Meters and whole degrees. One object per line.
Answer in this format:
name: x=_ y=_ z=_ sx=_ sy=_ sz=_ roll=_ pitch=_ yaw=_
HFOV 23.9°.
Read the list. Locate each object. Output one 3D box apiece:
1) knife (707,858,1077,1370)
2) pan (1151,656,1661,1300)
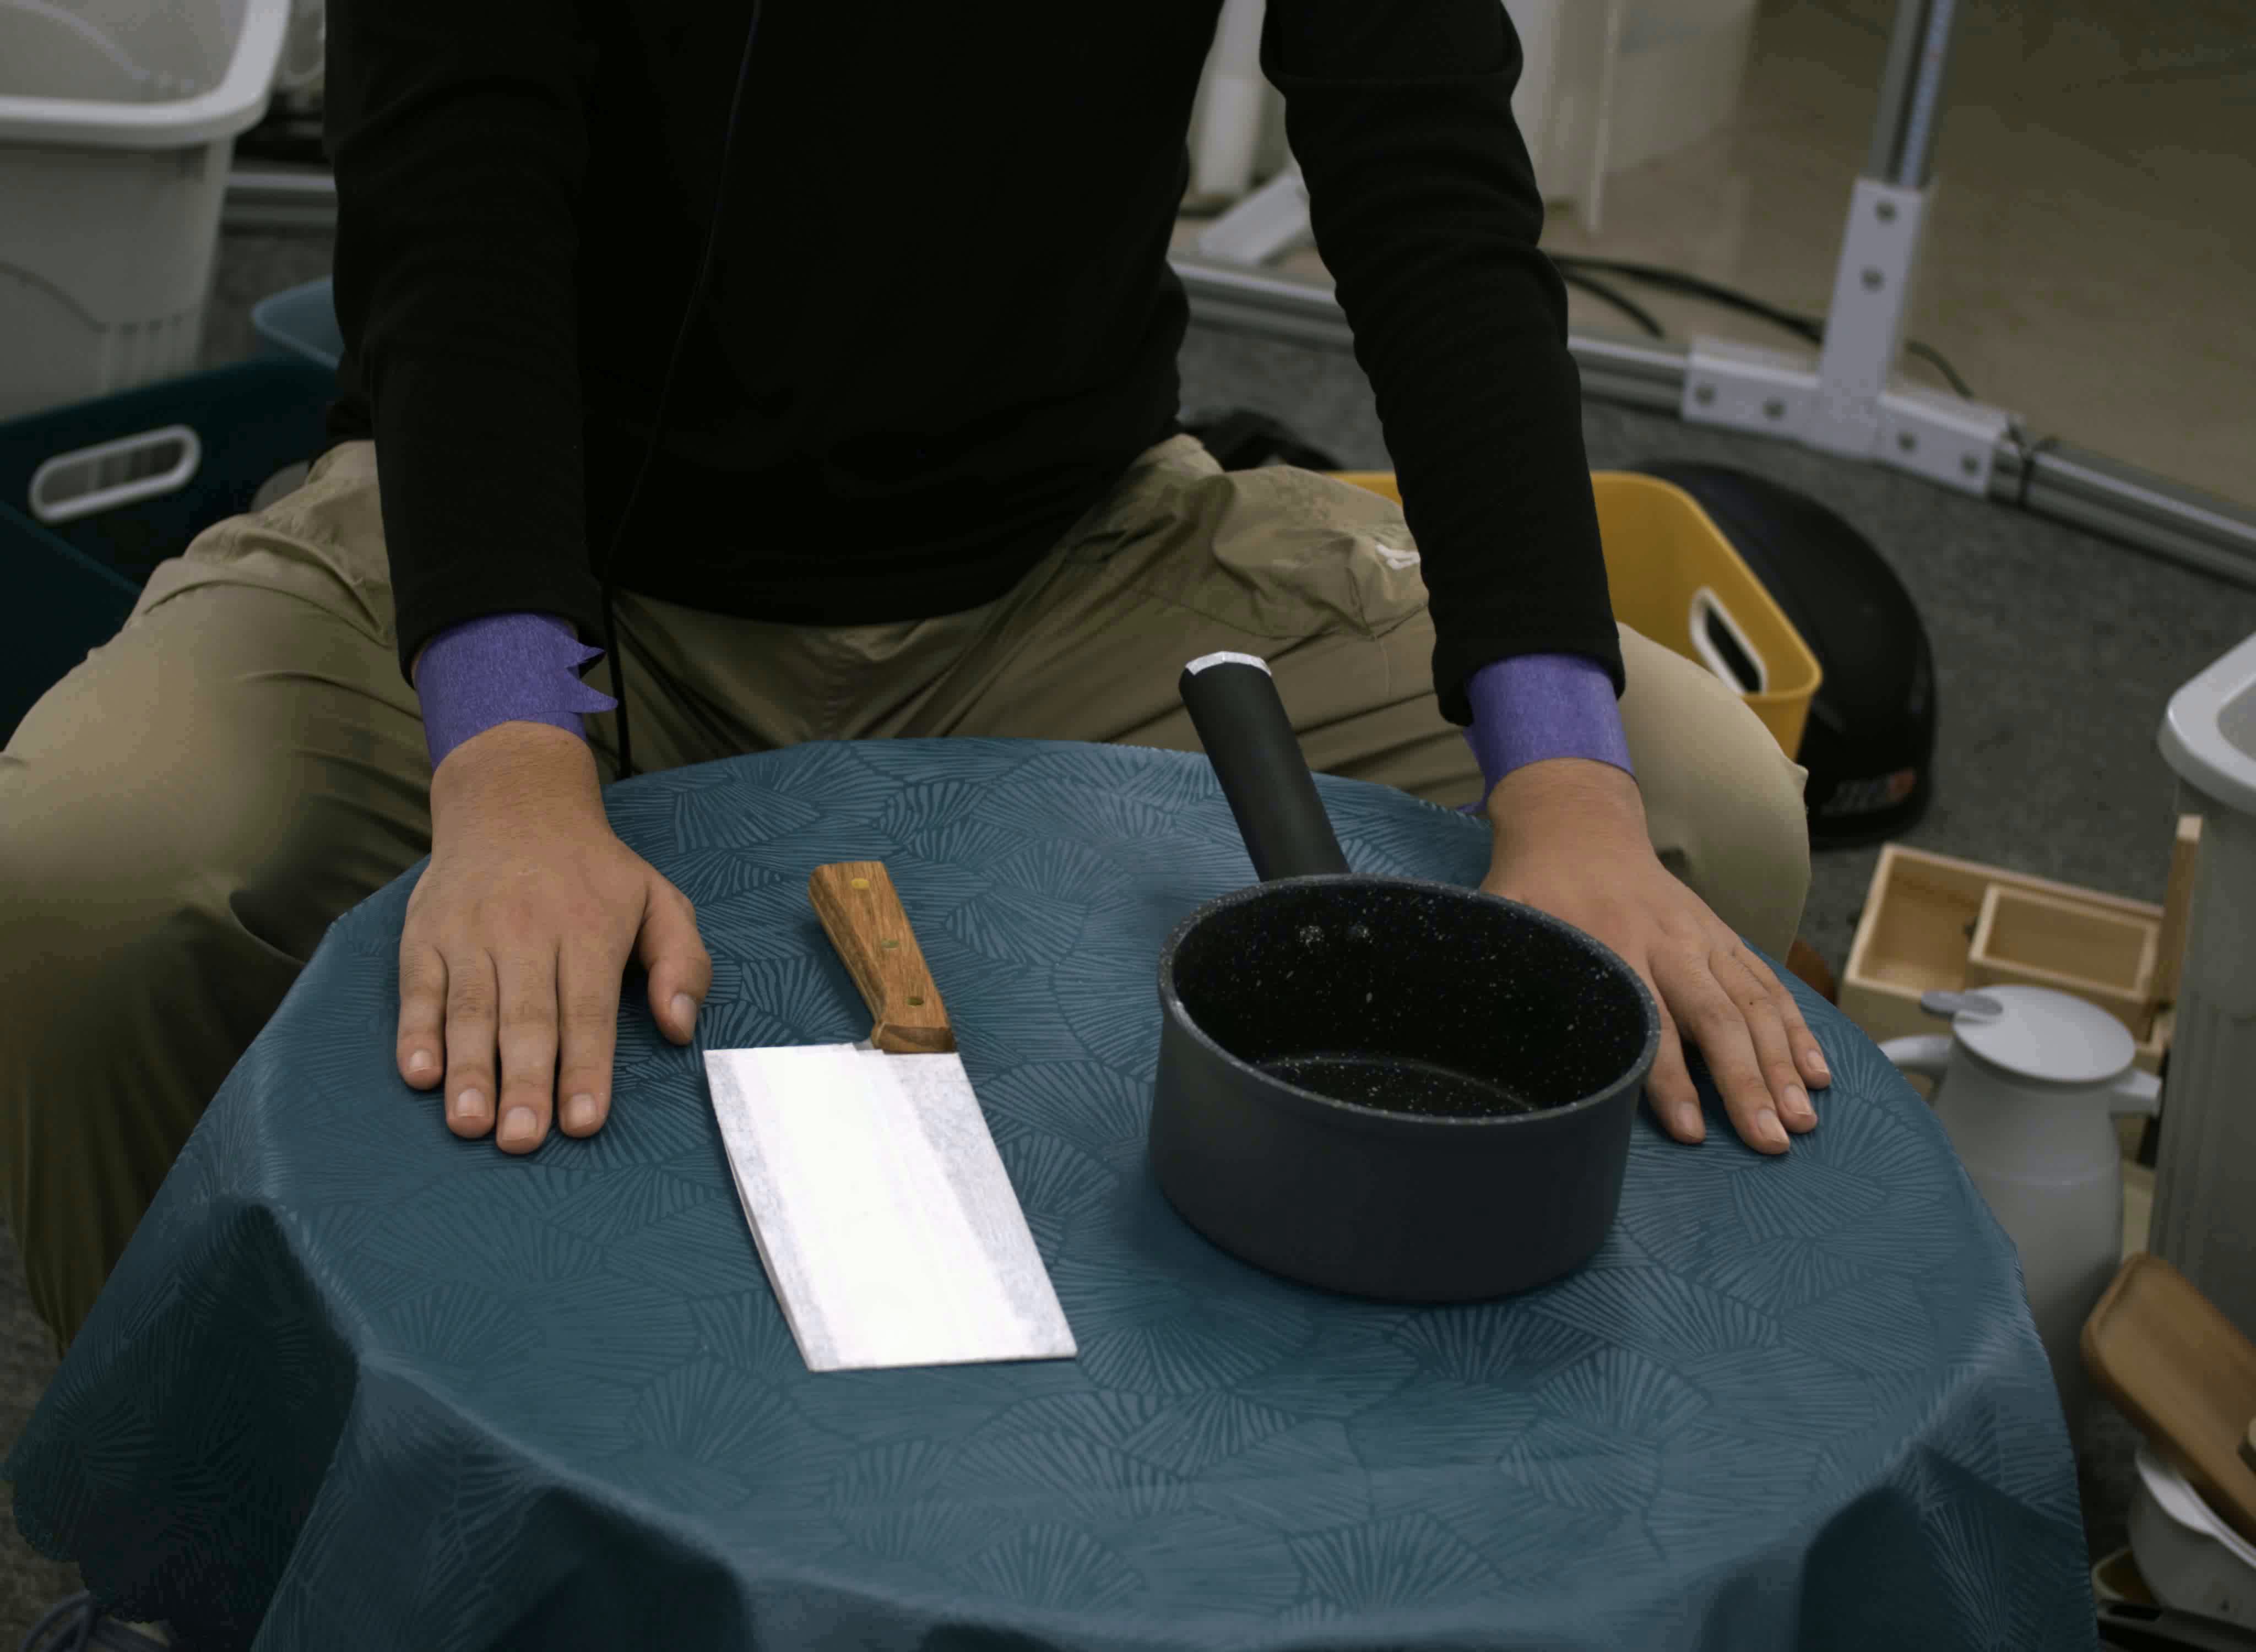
knife: x=-0.094 y=0.095 z=1.823 sx=0.092 sy=0.021 sz=0.308 roll=-2 pitch=30 yaw=-15
pan: x=0.074 y=0.050 z=1.877 sx=0.171 sy=0.086 sz=0.331 roll=0 pitch=28 yaw=-13
